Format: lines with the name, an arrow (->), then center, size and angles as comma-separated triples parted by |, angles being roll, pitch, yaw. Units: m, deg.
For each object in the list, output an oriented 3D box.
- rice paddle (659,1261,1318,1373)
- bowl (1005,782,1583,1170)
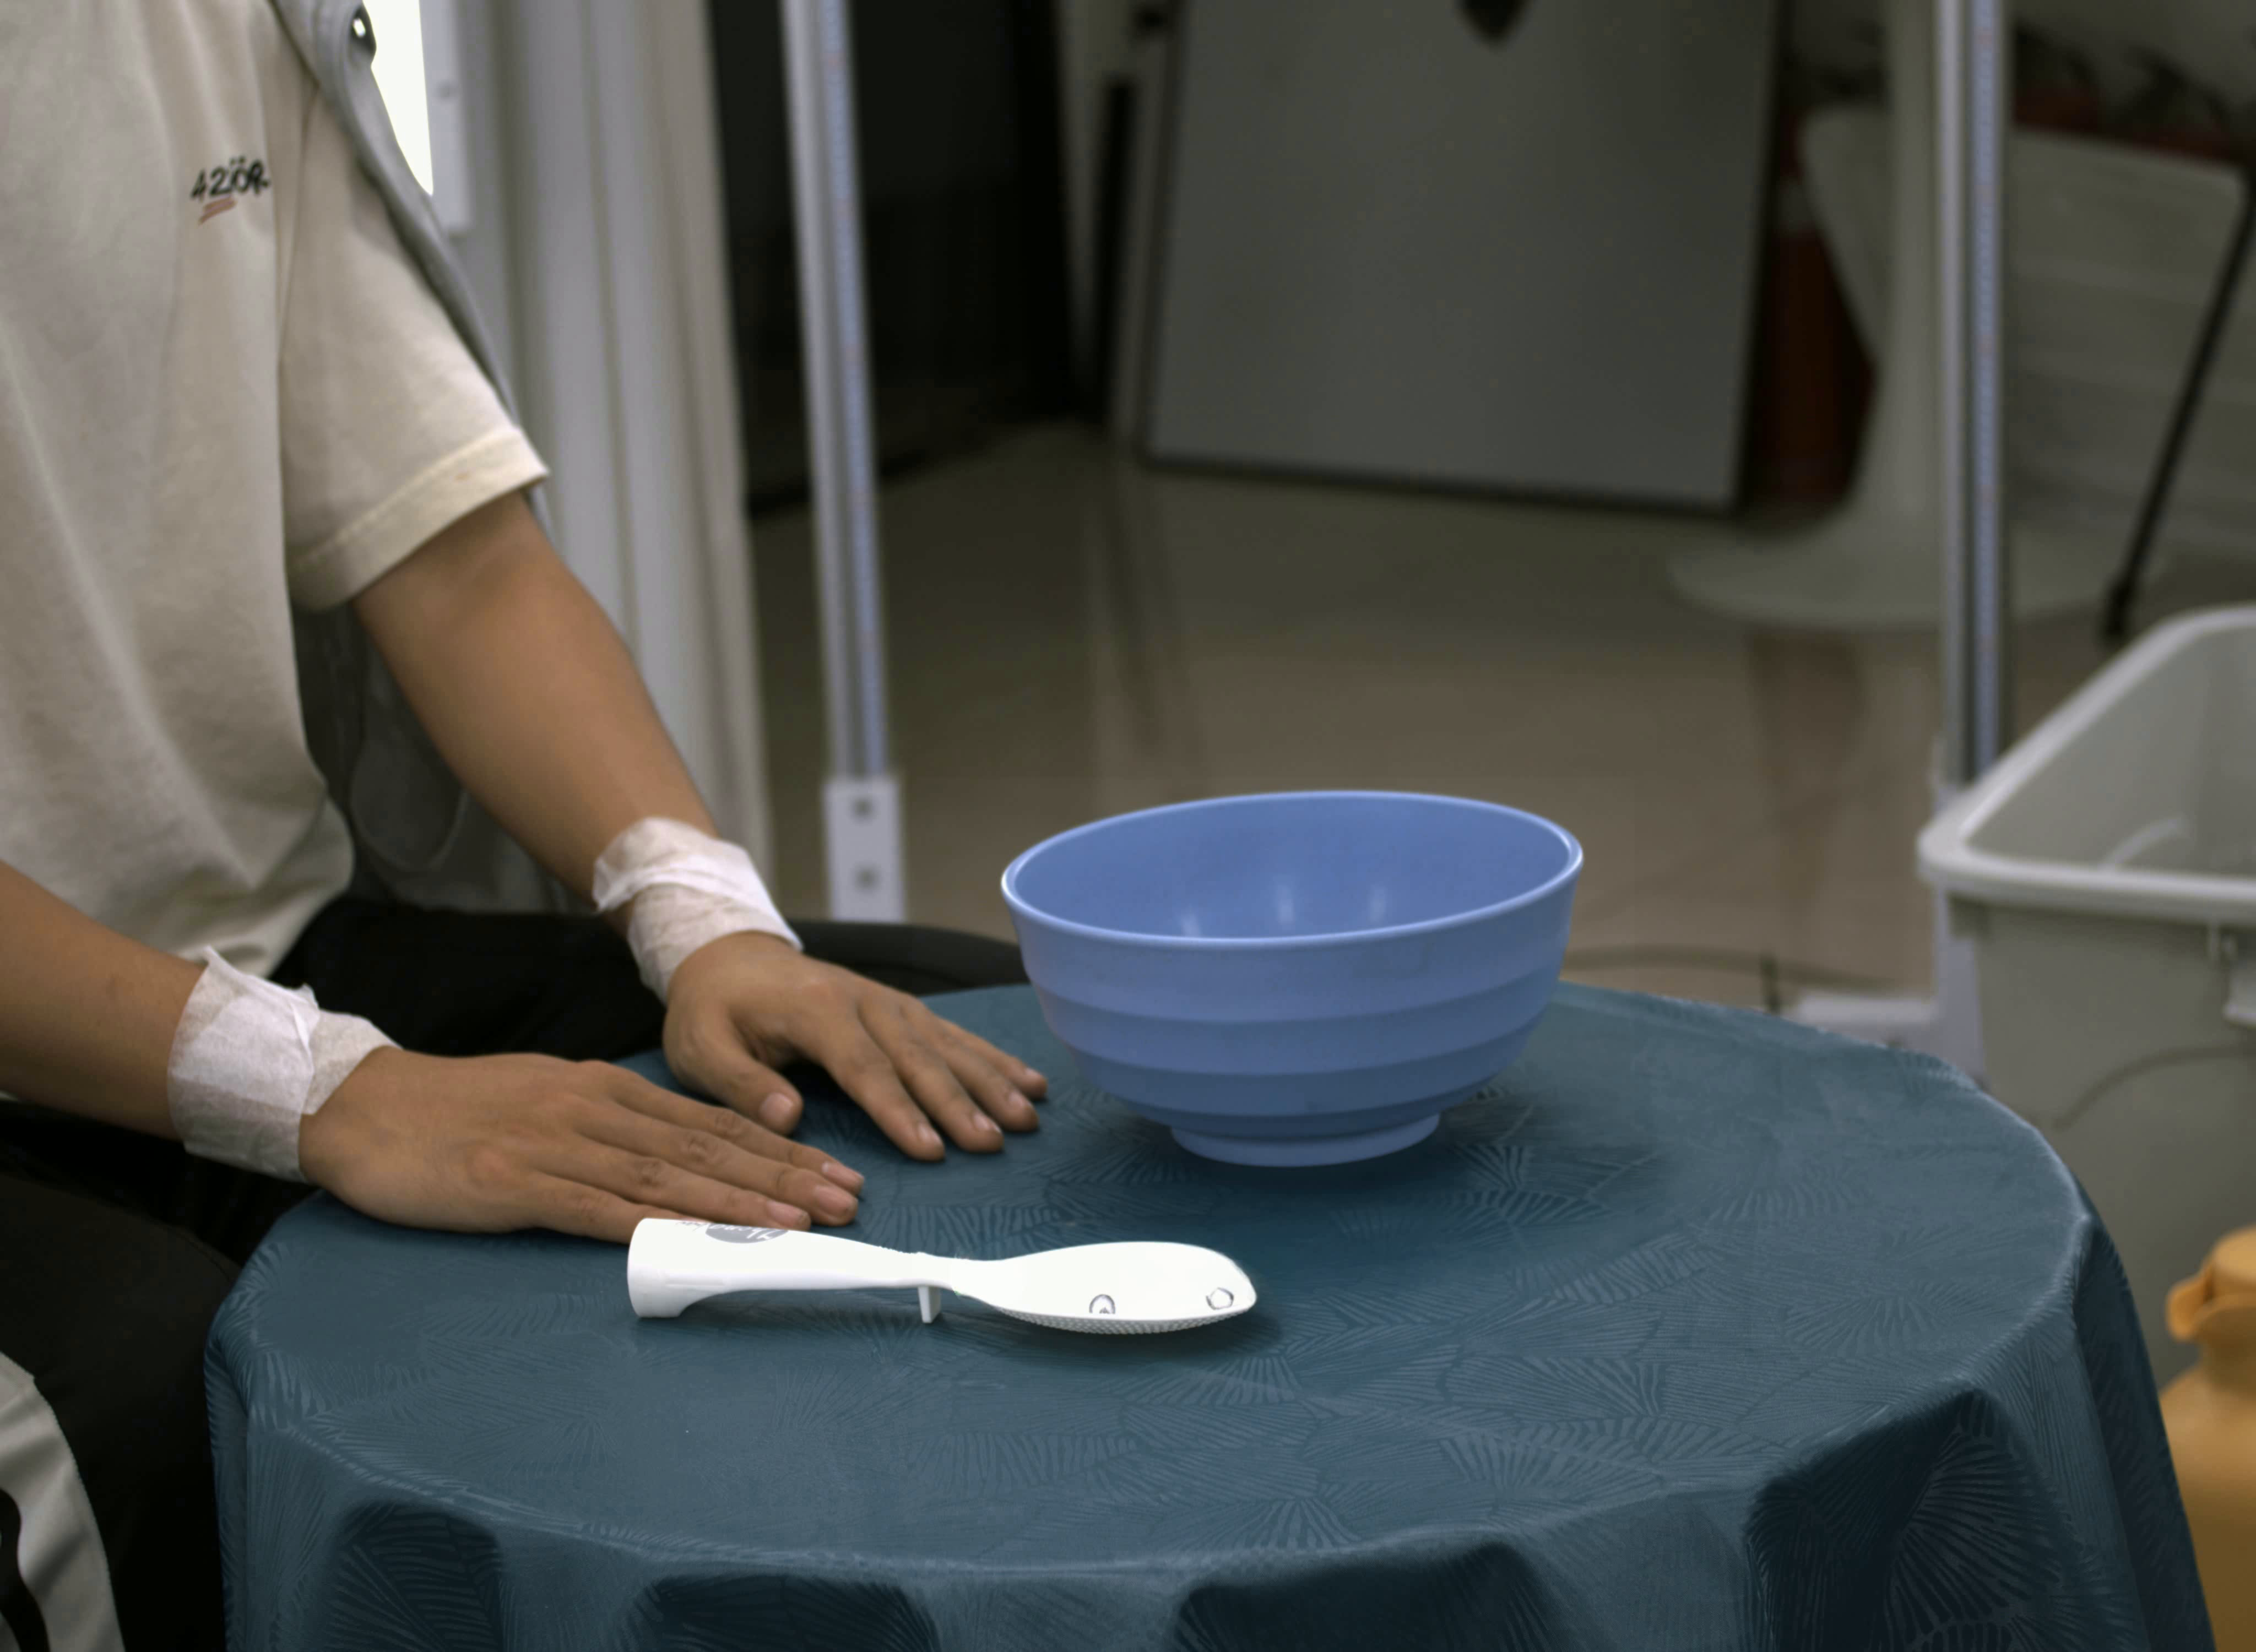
rice paddle -> -0.042, 0.143, 1.656 | 0.203, 0.030, 0.068 | -6, 0, 8
bowl -> 0.057, 0.056, 1.818 | 0.194, 0.096, 0.197 | -3, 15, 0
